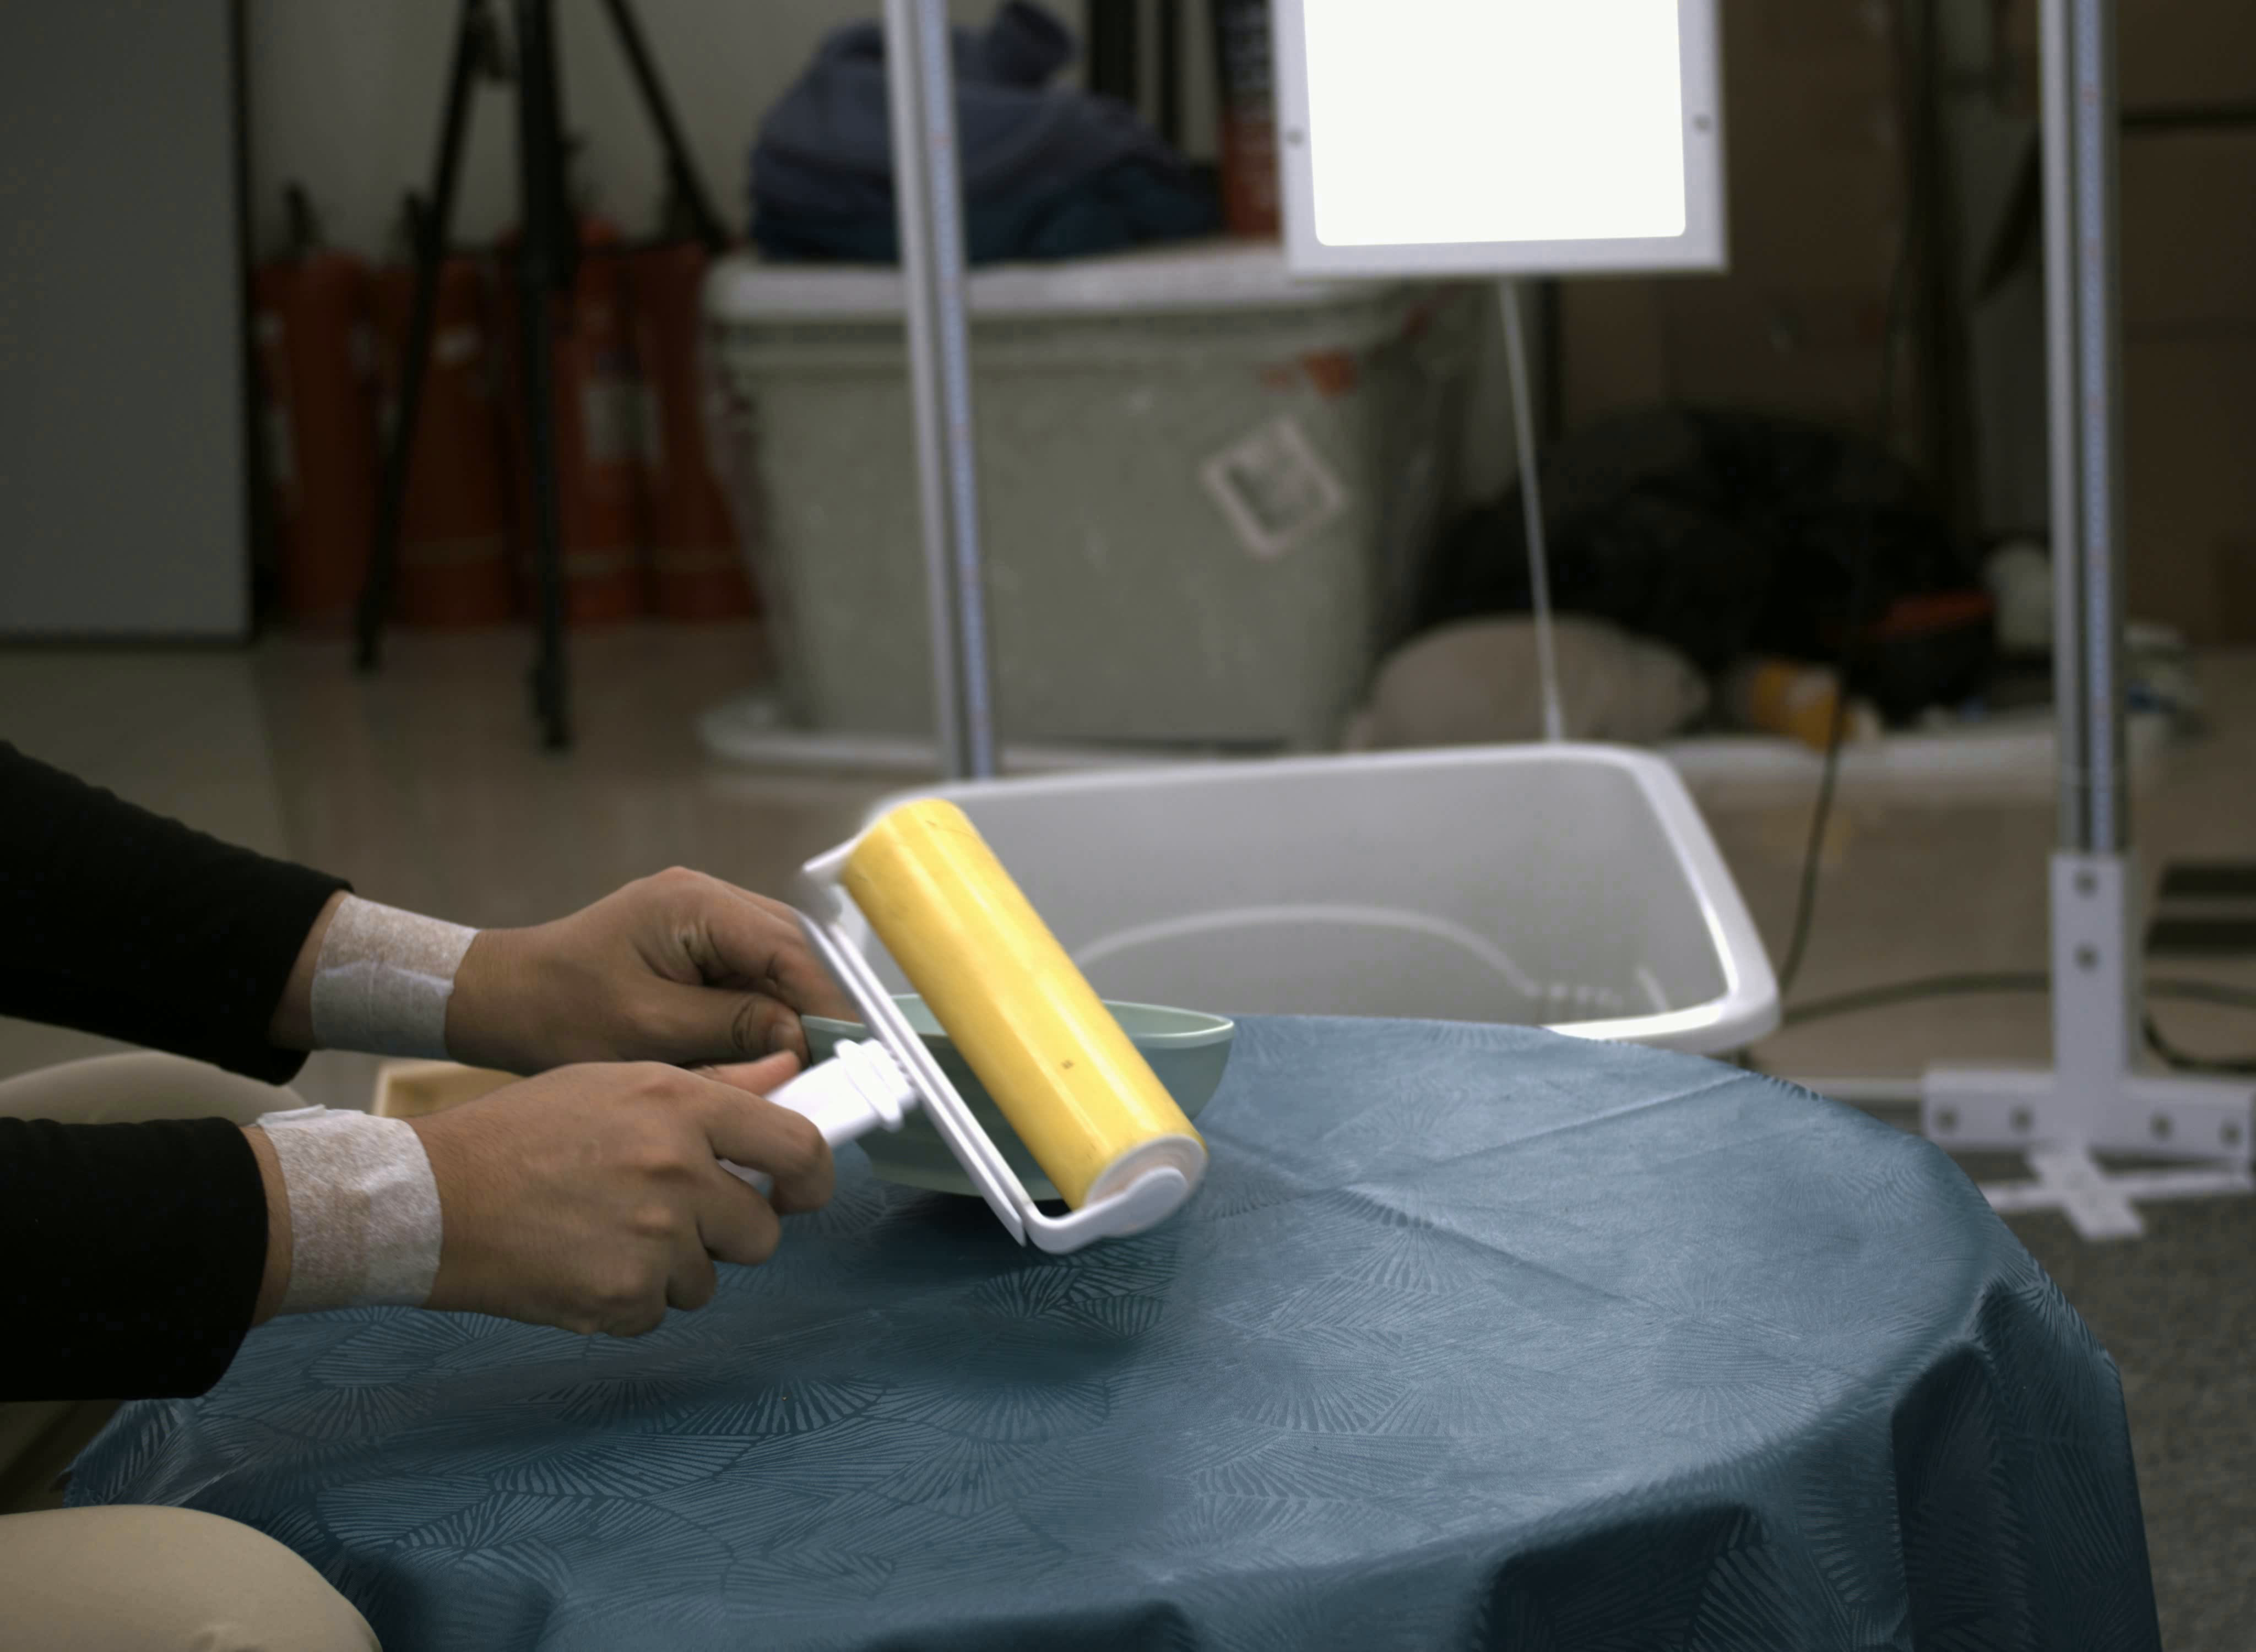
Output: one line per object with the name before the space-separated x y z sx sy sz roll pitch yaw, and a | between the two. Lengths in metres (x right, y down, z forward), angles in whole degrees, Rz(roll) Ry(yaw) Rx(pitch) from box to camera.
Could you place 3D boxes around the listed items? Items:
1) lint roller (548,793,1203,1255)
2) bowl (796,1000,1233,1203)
lint roller | -0.098 0.083 1.756 0.188 0.052 0.176 -21 52 -27
bowl | -0.040 0.095 1.892 0.151 0.059 0.151 3 3 -2
